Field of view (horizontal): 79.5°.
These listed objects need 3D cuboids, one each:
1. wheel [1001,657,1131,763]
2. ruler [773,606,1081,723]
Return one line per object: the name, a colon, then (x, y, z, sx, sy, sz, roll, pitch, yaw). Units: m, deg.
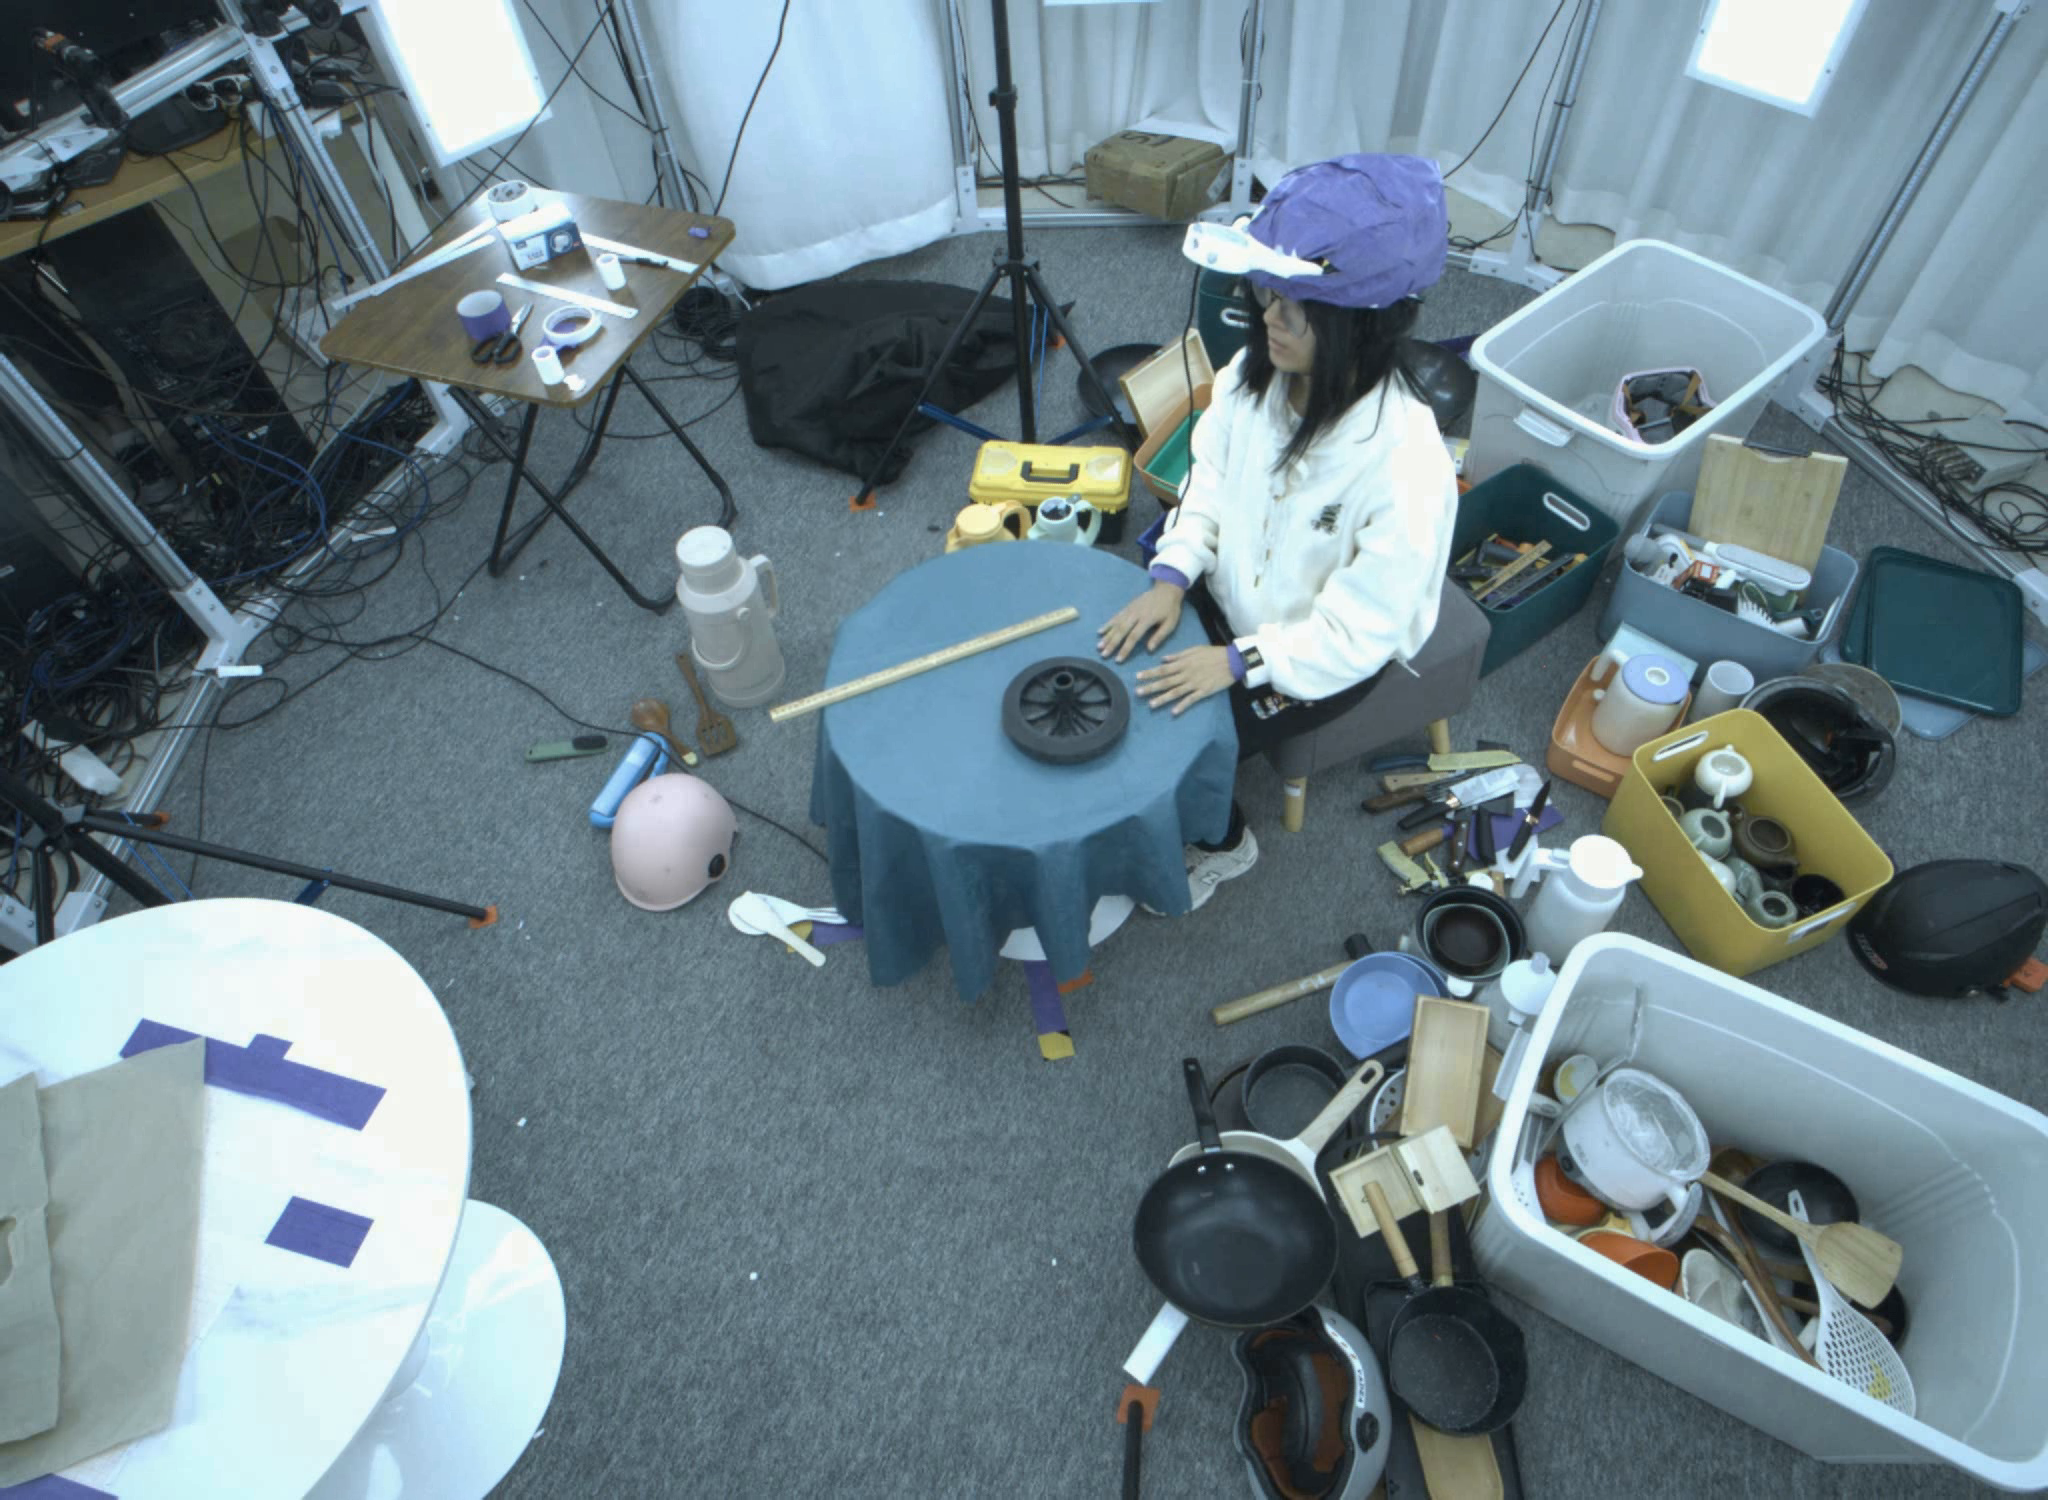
wheel: (0.060, -0.073, 1.791, 0.187, 0.080, 0.188, 24, 59, 19)
ruler: (-0.147, -0.135, 1.885, 0.504, 0.006, 0.026, -20, 55, -12)
